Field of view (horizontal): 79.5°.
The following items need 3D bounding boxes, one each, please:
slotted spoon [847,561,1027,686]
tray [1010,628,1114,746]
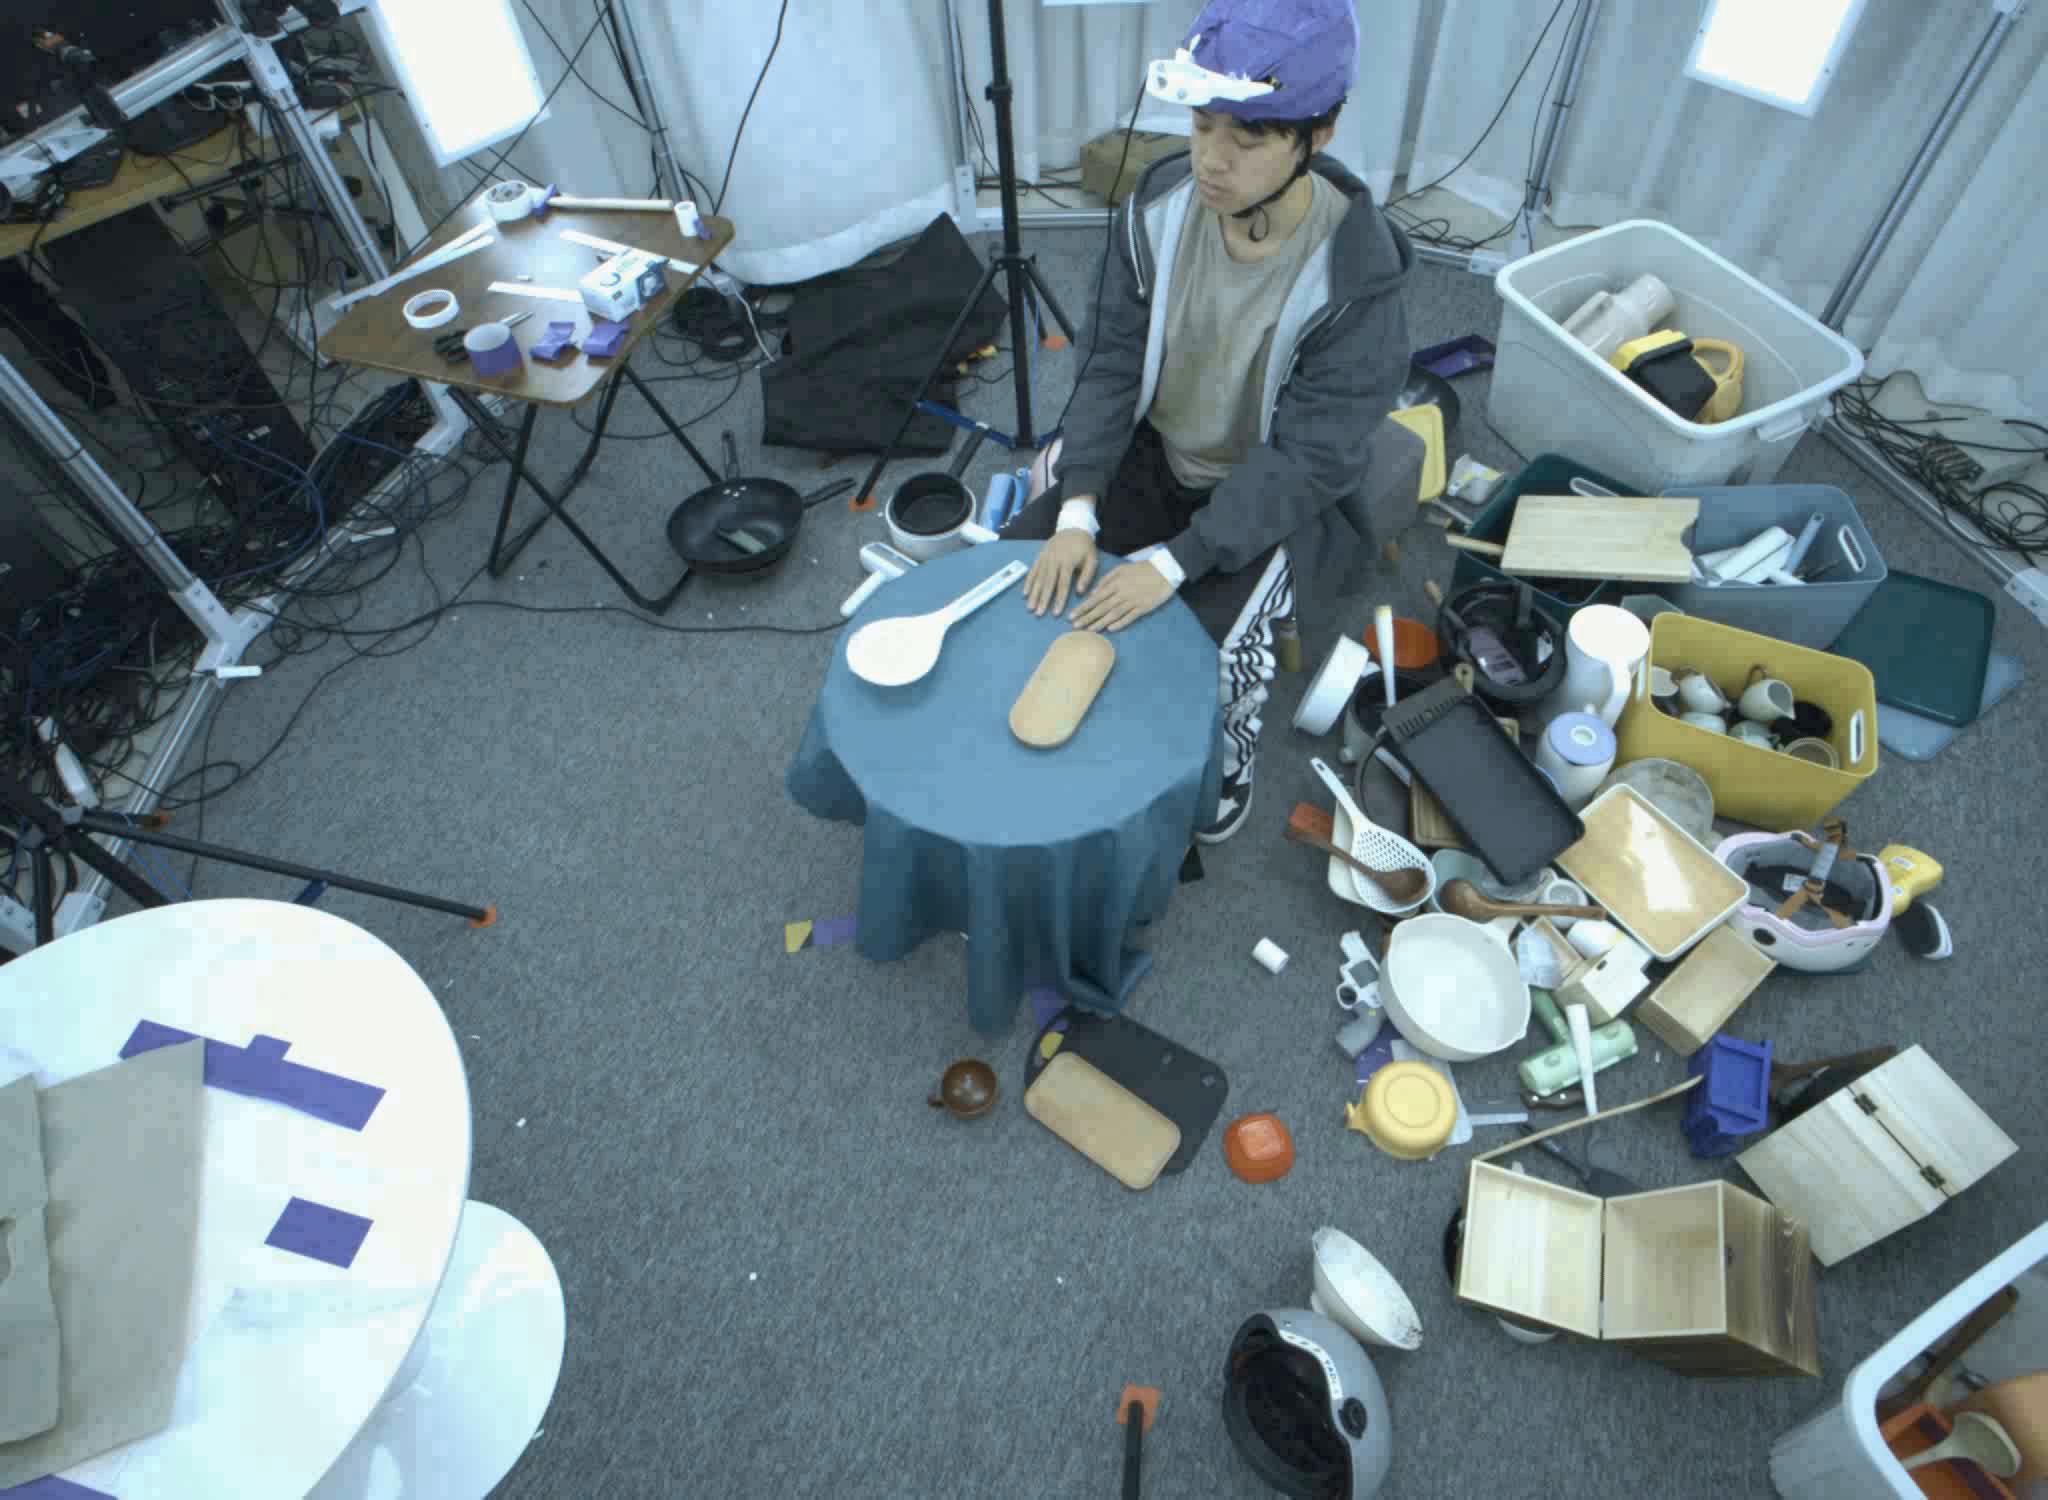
[{"bbox_3d":[-0.126,-0.205,1.911,0.134,0.046,0.352,38,63,23],"label":"slotted spoon"},{"bbox_3d":[0.058,-0.096,1.846,0.100,0.020,0.231,21,57,15],"label":"tray"}]
